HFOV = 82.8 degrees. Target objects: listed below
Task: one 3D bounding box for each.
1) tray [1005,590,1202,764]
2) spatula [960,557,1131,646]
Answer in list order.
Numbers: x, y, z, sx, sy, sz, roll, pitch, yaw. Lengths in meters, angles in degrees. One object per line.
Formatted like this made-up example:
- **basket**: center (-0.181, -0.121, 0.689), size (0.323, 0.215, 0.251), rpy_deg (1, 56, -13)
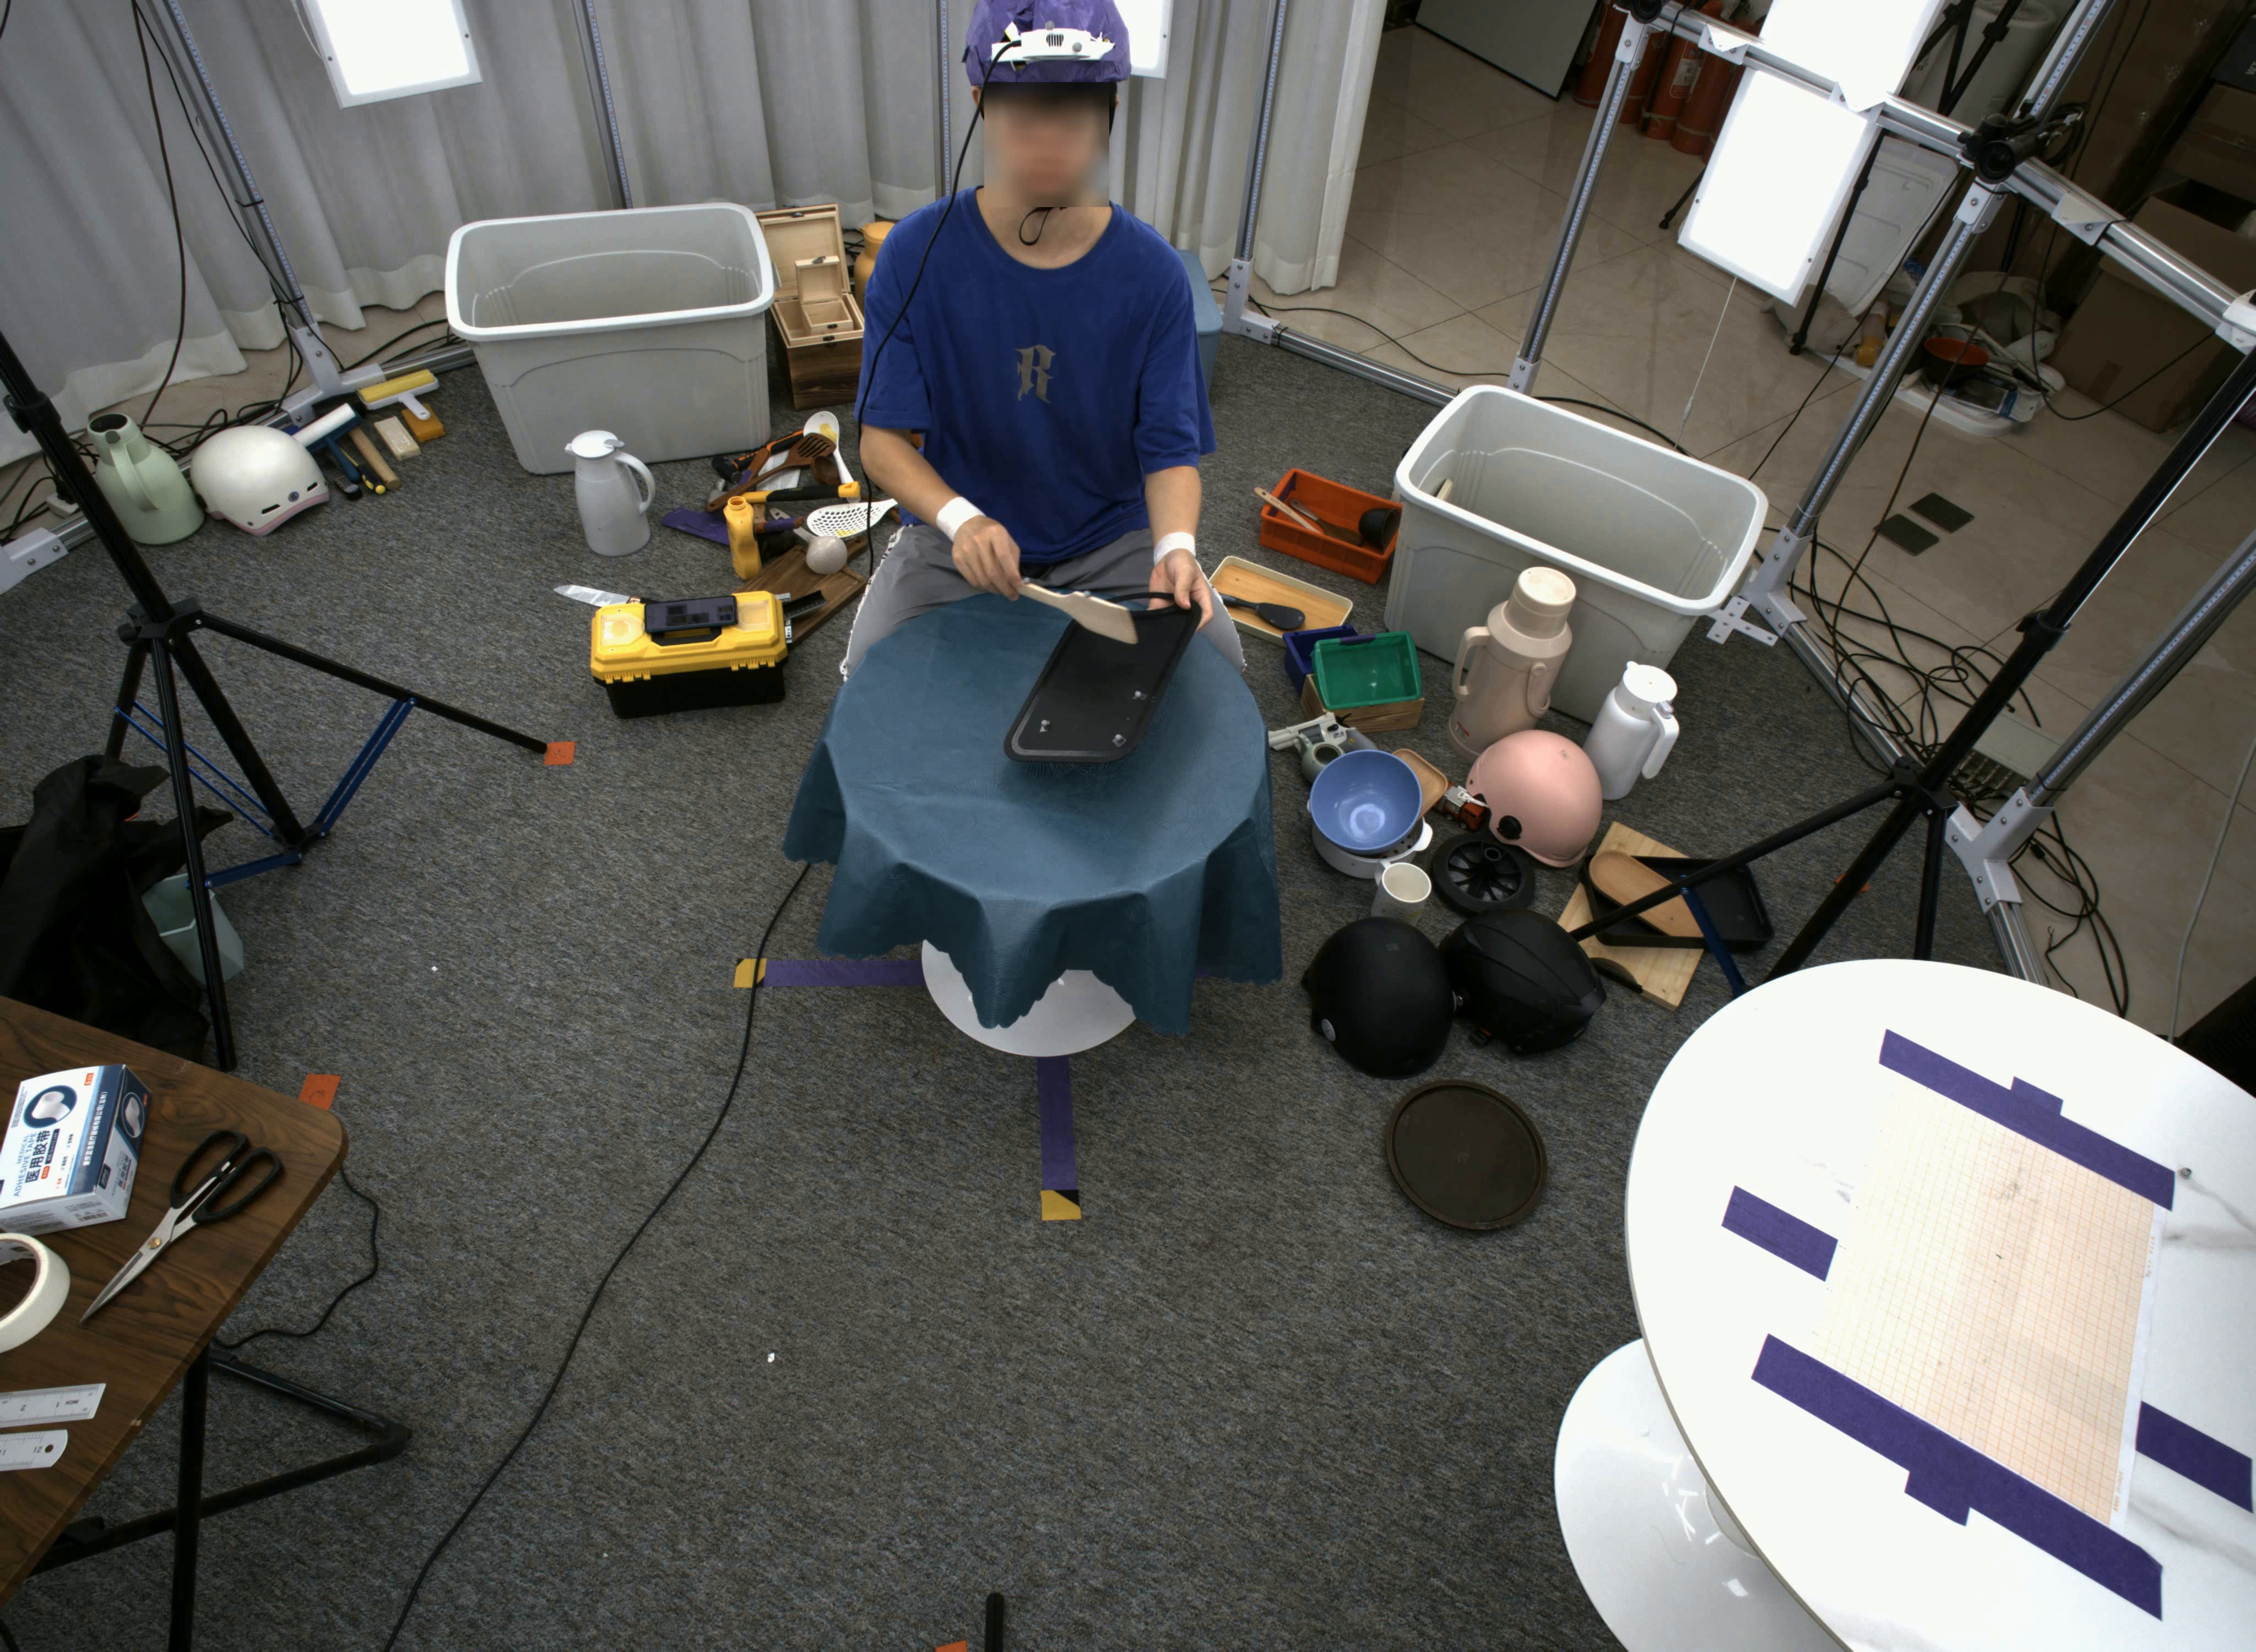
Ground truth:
- **tray**: center (-0.029, -0.208, 1.723), size (0.212, 0.009, 0.331), rpy_deg (4, 51, 31)
- **spatula**: center (-0.119, -0.313, 1.744), size (0.297, 0.070, 0.011), rpy_deg (27, 68, 30)
